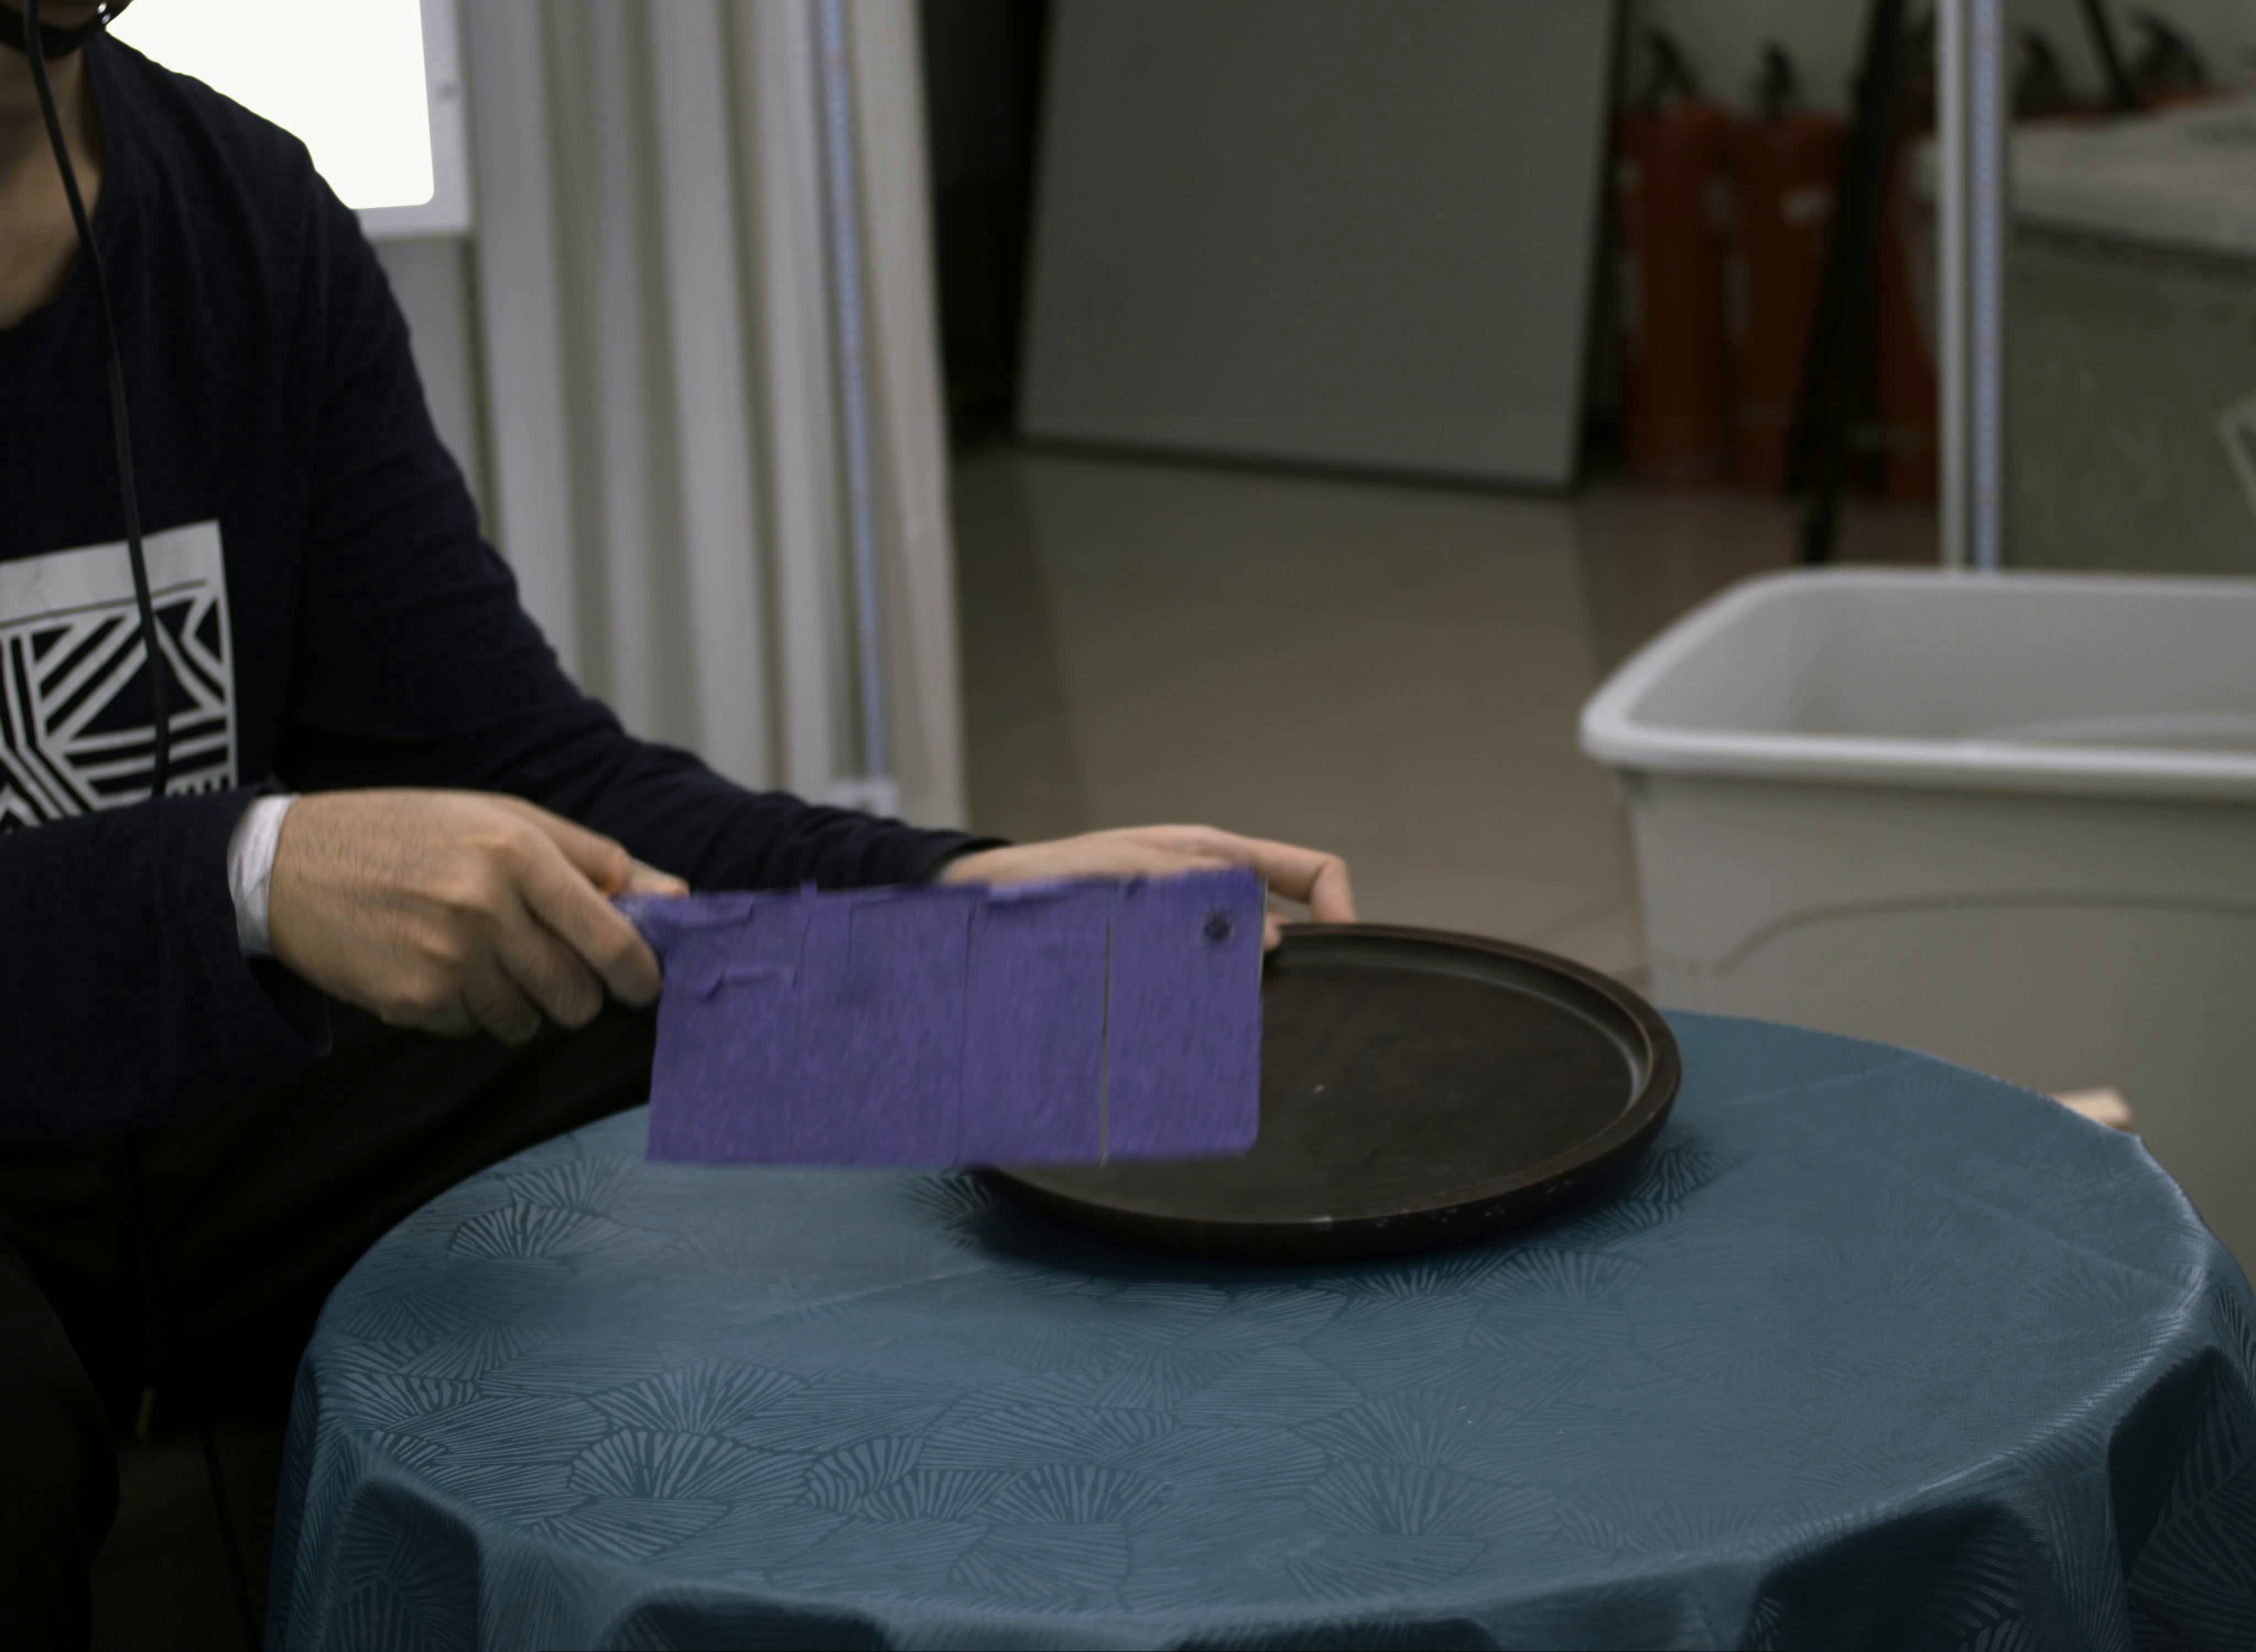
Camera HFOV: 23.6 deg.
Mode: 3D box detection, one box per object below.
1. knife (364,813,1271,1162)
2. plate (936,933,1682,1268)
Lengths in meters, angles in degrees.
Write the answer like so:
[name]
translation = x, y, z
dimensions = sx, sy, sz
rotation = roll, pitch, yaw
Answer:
[knife]
translation = -0.102, 0.057, 1.701
dimensions = 0.315, 0.105, 0.032
rotation = -5, -20, 24
[plate]
translation = 0.059, 0.088, 1.790
dimensions = 0.251, 0.029, 0.255
rotation = -3, 21, 0
